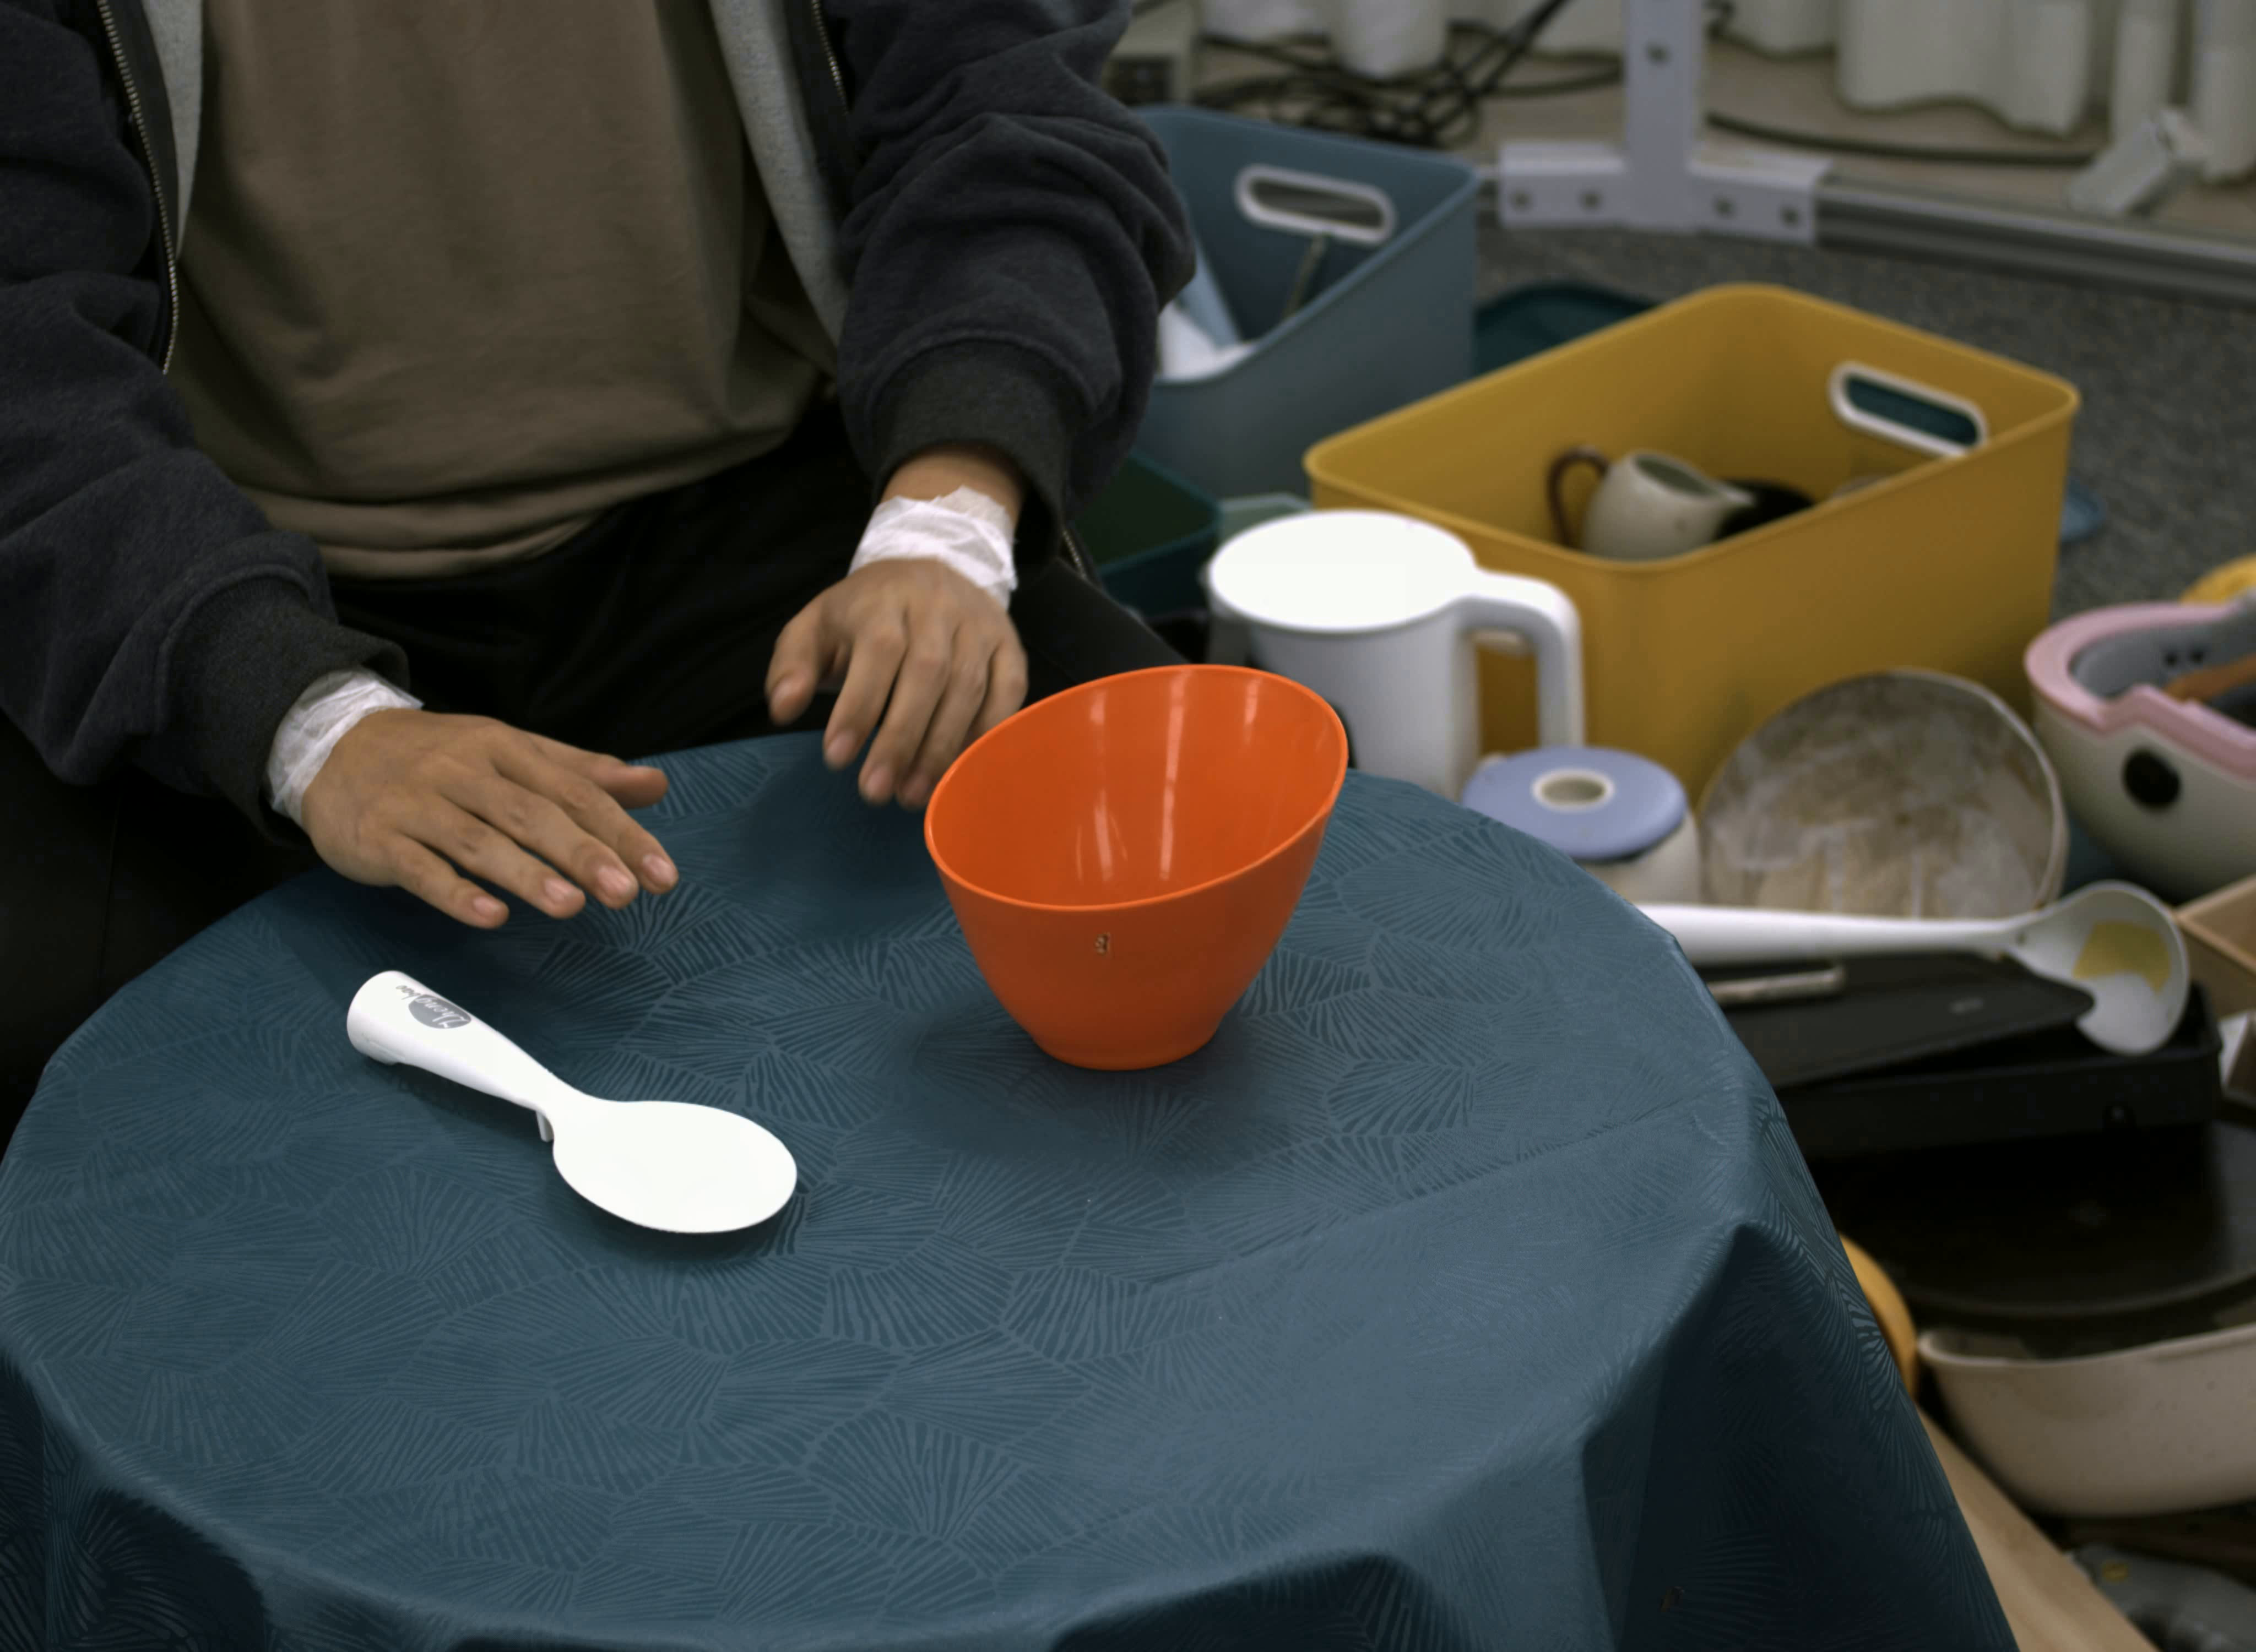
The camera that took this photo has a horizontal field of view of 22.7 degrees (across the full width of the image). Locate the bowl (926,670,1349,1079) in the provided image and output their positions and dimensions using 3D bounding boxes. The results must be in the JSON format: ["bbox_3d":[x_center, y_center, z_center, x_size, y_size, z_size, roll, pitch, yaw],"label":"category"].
[{"bbox_3d":[0.006,0.023,1.944,0.147,0.103,0.150,-3,28,2],"label":"bowl"}]

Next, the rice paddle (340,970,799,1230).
[{"bbox_3d":[-0.190,0.094,1.901,0.205,0.029,0.069,22,38,39],"label":"rice paddle"}]
